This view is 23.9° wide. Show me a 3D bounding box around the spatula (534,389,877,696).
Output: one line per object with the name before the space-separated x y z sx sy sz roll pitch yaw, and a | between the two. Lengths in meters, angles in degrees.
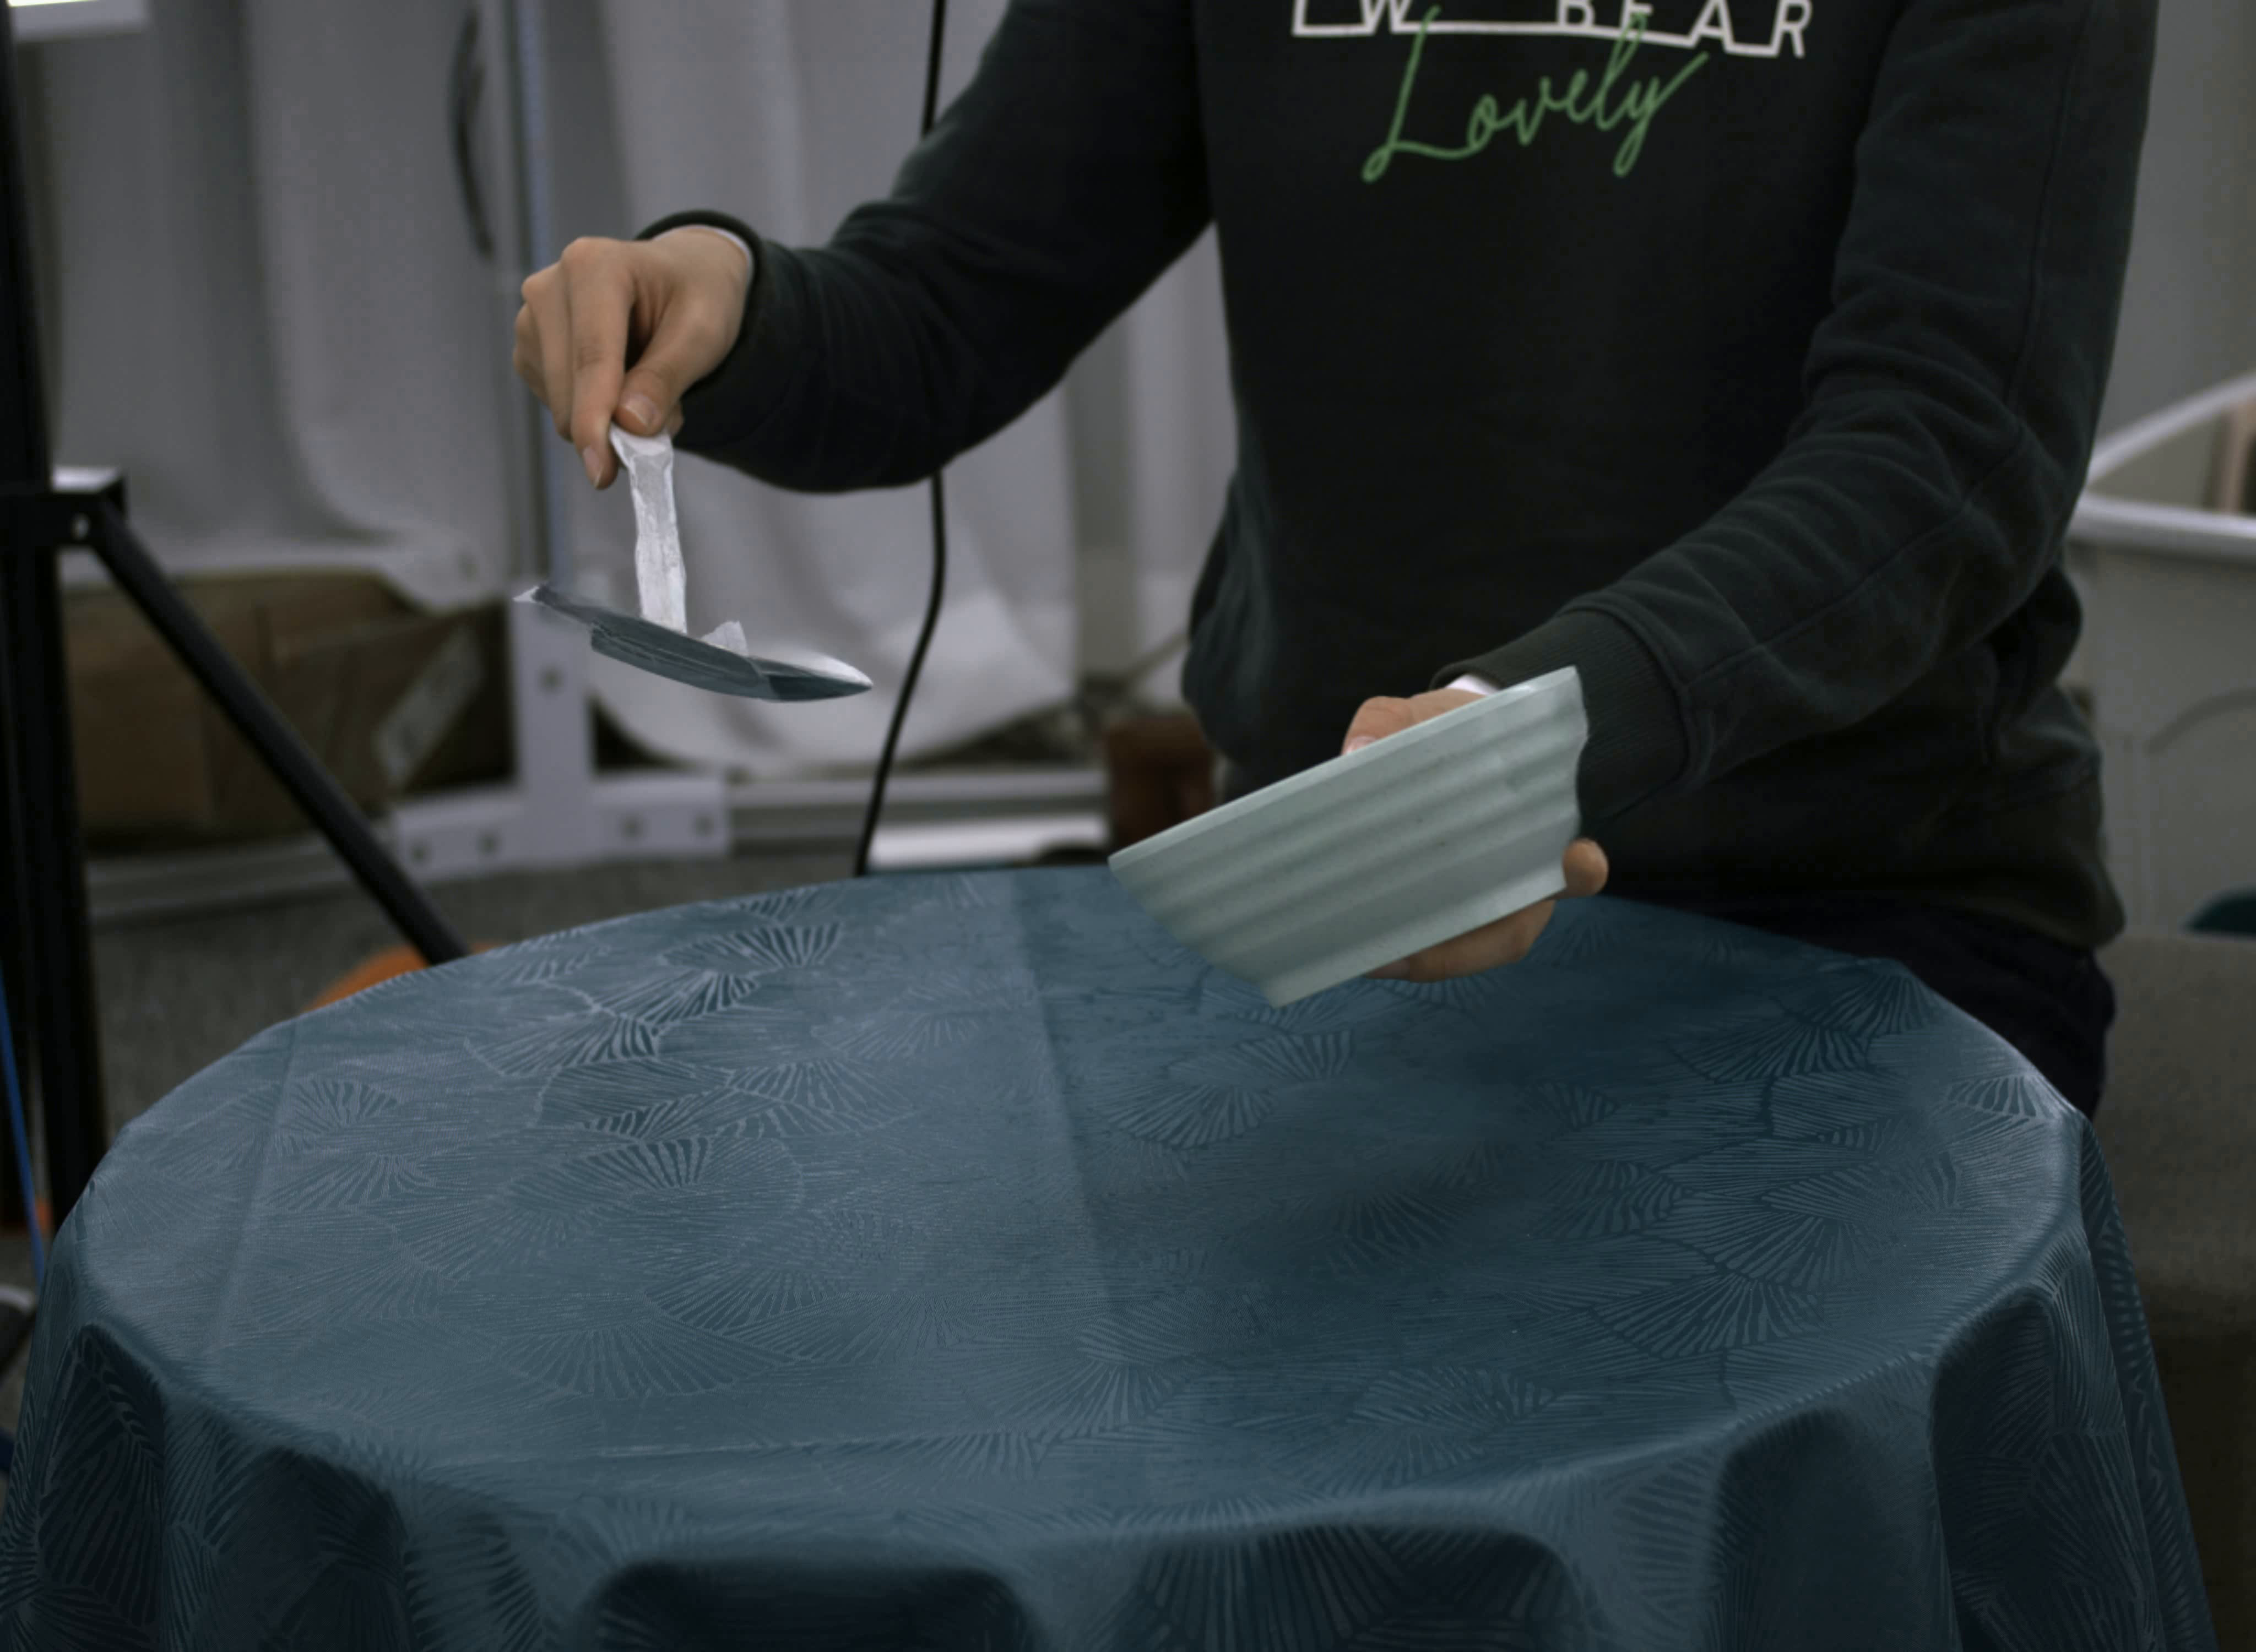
spatula | -0.140 -0.099 1.641 0.097 0.045 0.368 15 18 -13

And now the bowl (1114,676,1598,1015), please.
bowl | 0.073 0.010 1.489 0.151 0.059 0.151 -20 0 -2
